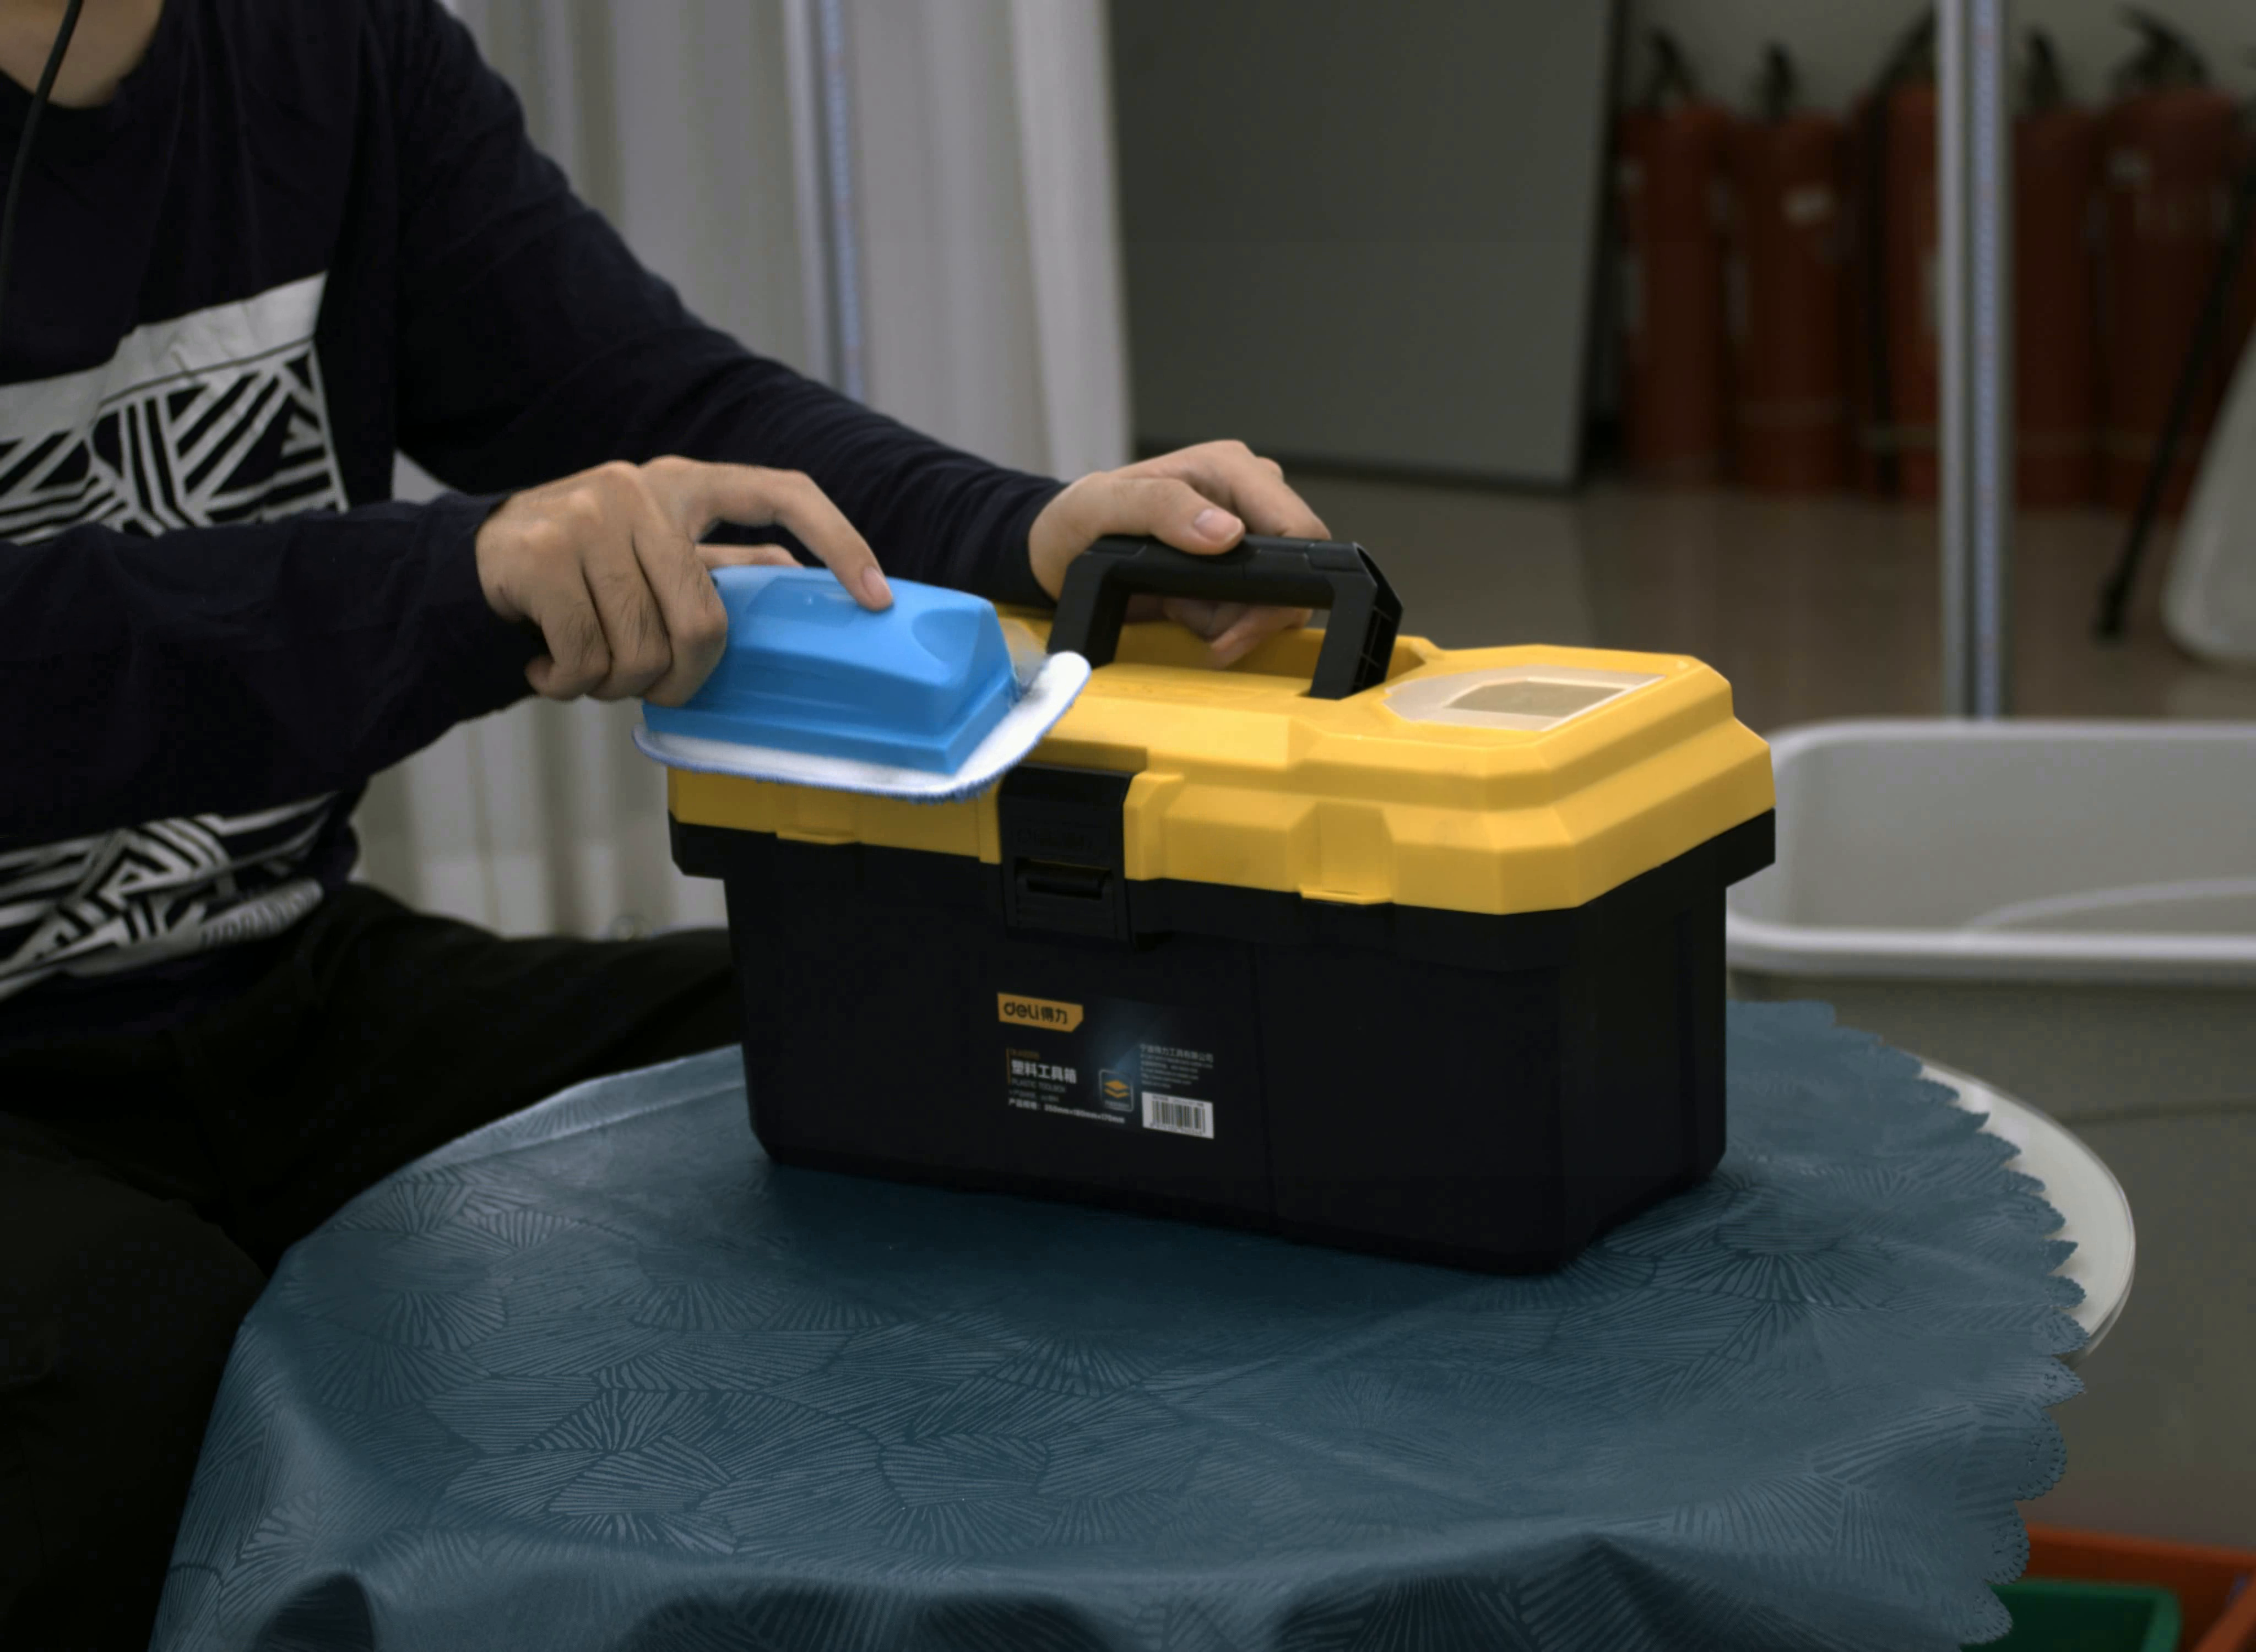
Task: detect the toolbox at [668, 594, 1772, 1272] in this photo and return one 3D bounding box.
[{"bbox_3d":[0.027,0.030,1.772,0.353,0.175,0.178,6,16,35],"label":"toolbox"}]

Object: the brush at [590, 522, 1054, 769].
[{"bbox_3d":[-0.098,-0.058,1.682,0.145,0.056,0.083,11,38,34],"label":"brush"}]
